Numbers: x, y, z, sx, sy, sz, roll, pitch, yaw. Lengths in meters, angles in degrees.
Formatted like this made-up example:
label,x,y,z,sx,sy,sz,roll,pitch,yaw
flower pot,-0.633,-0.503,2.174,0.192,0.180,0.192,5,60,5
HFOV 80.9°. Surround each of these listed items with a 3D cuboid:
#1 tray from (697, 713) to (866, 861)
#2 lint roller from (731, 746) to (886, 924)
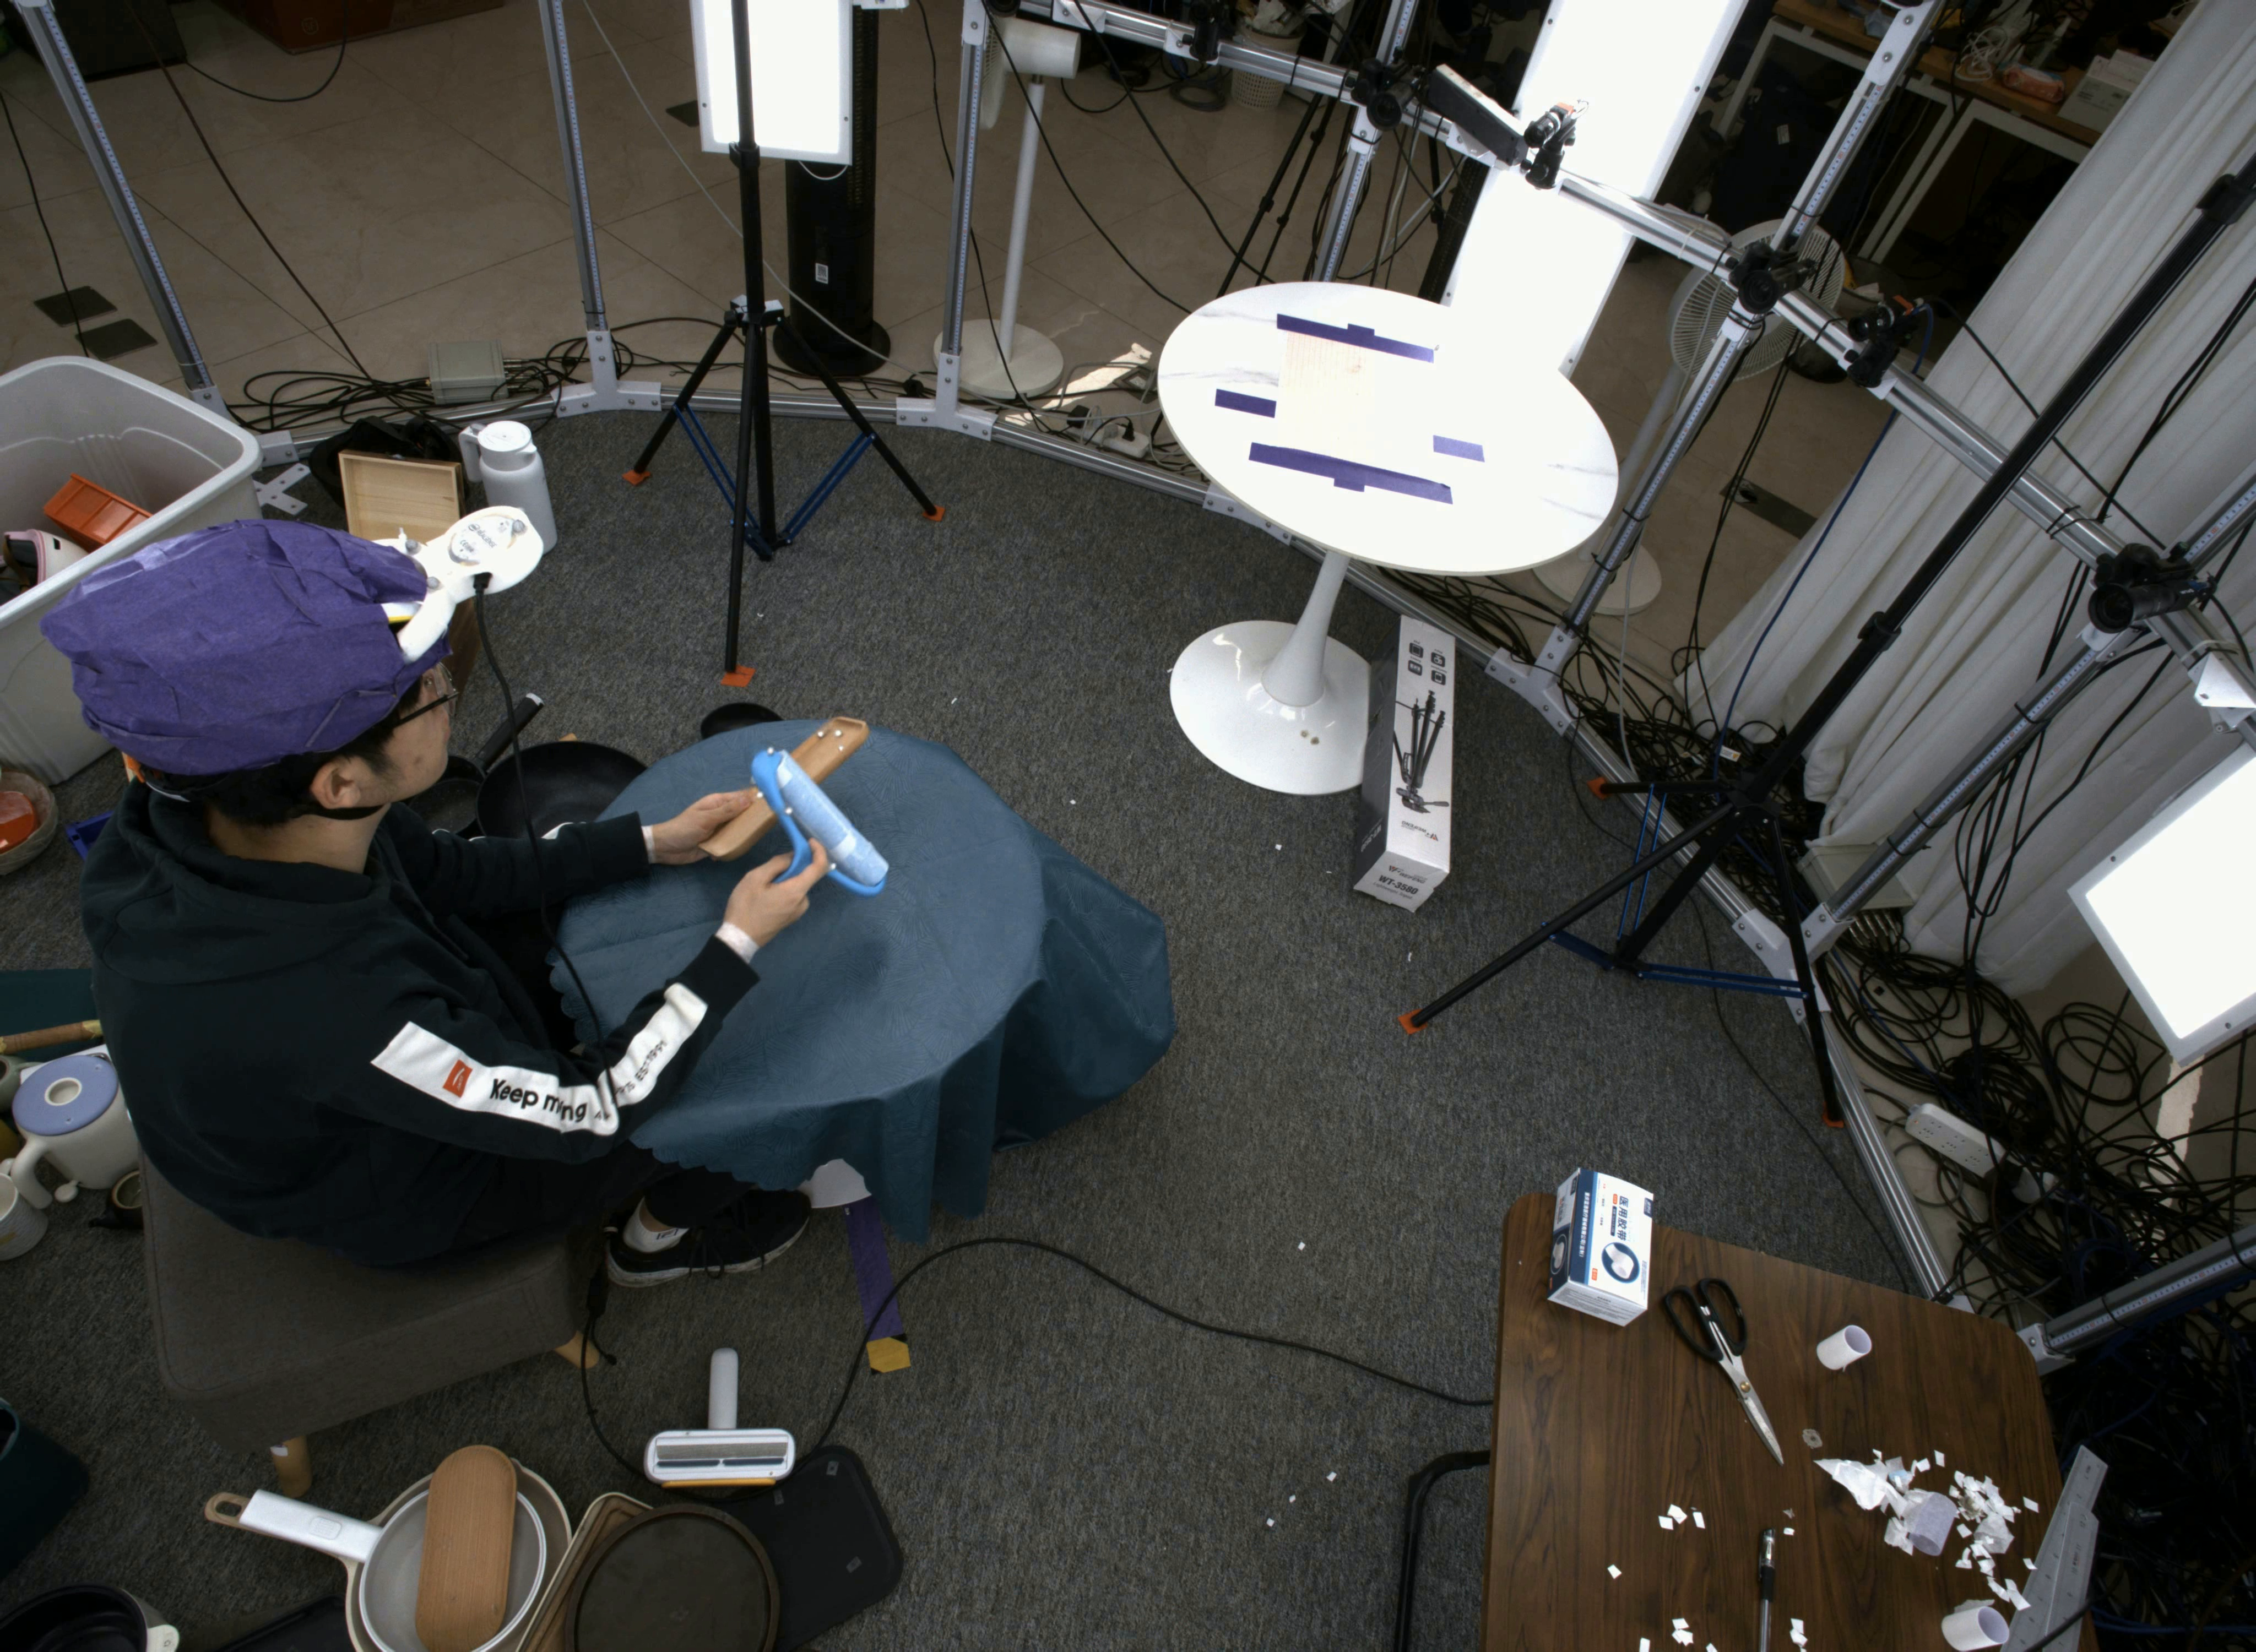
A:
label,x,y,z,sx,sy,sz,roll,pitch,yaw
tray,-0.437,-0.053,1.634,0.250,0.126,0.023,-48,119,-19
lint roller,-0.390,0.039,1.508,0.066,0.237,0.179,-1,50,40
